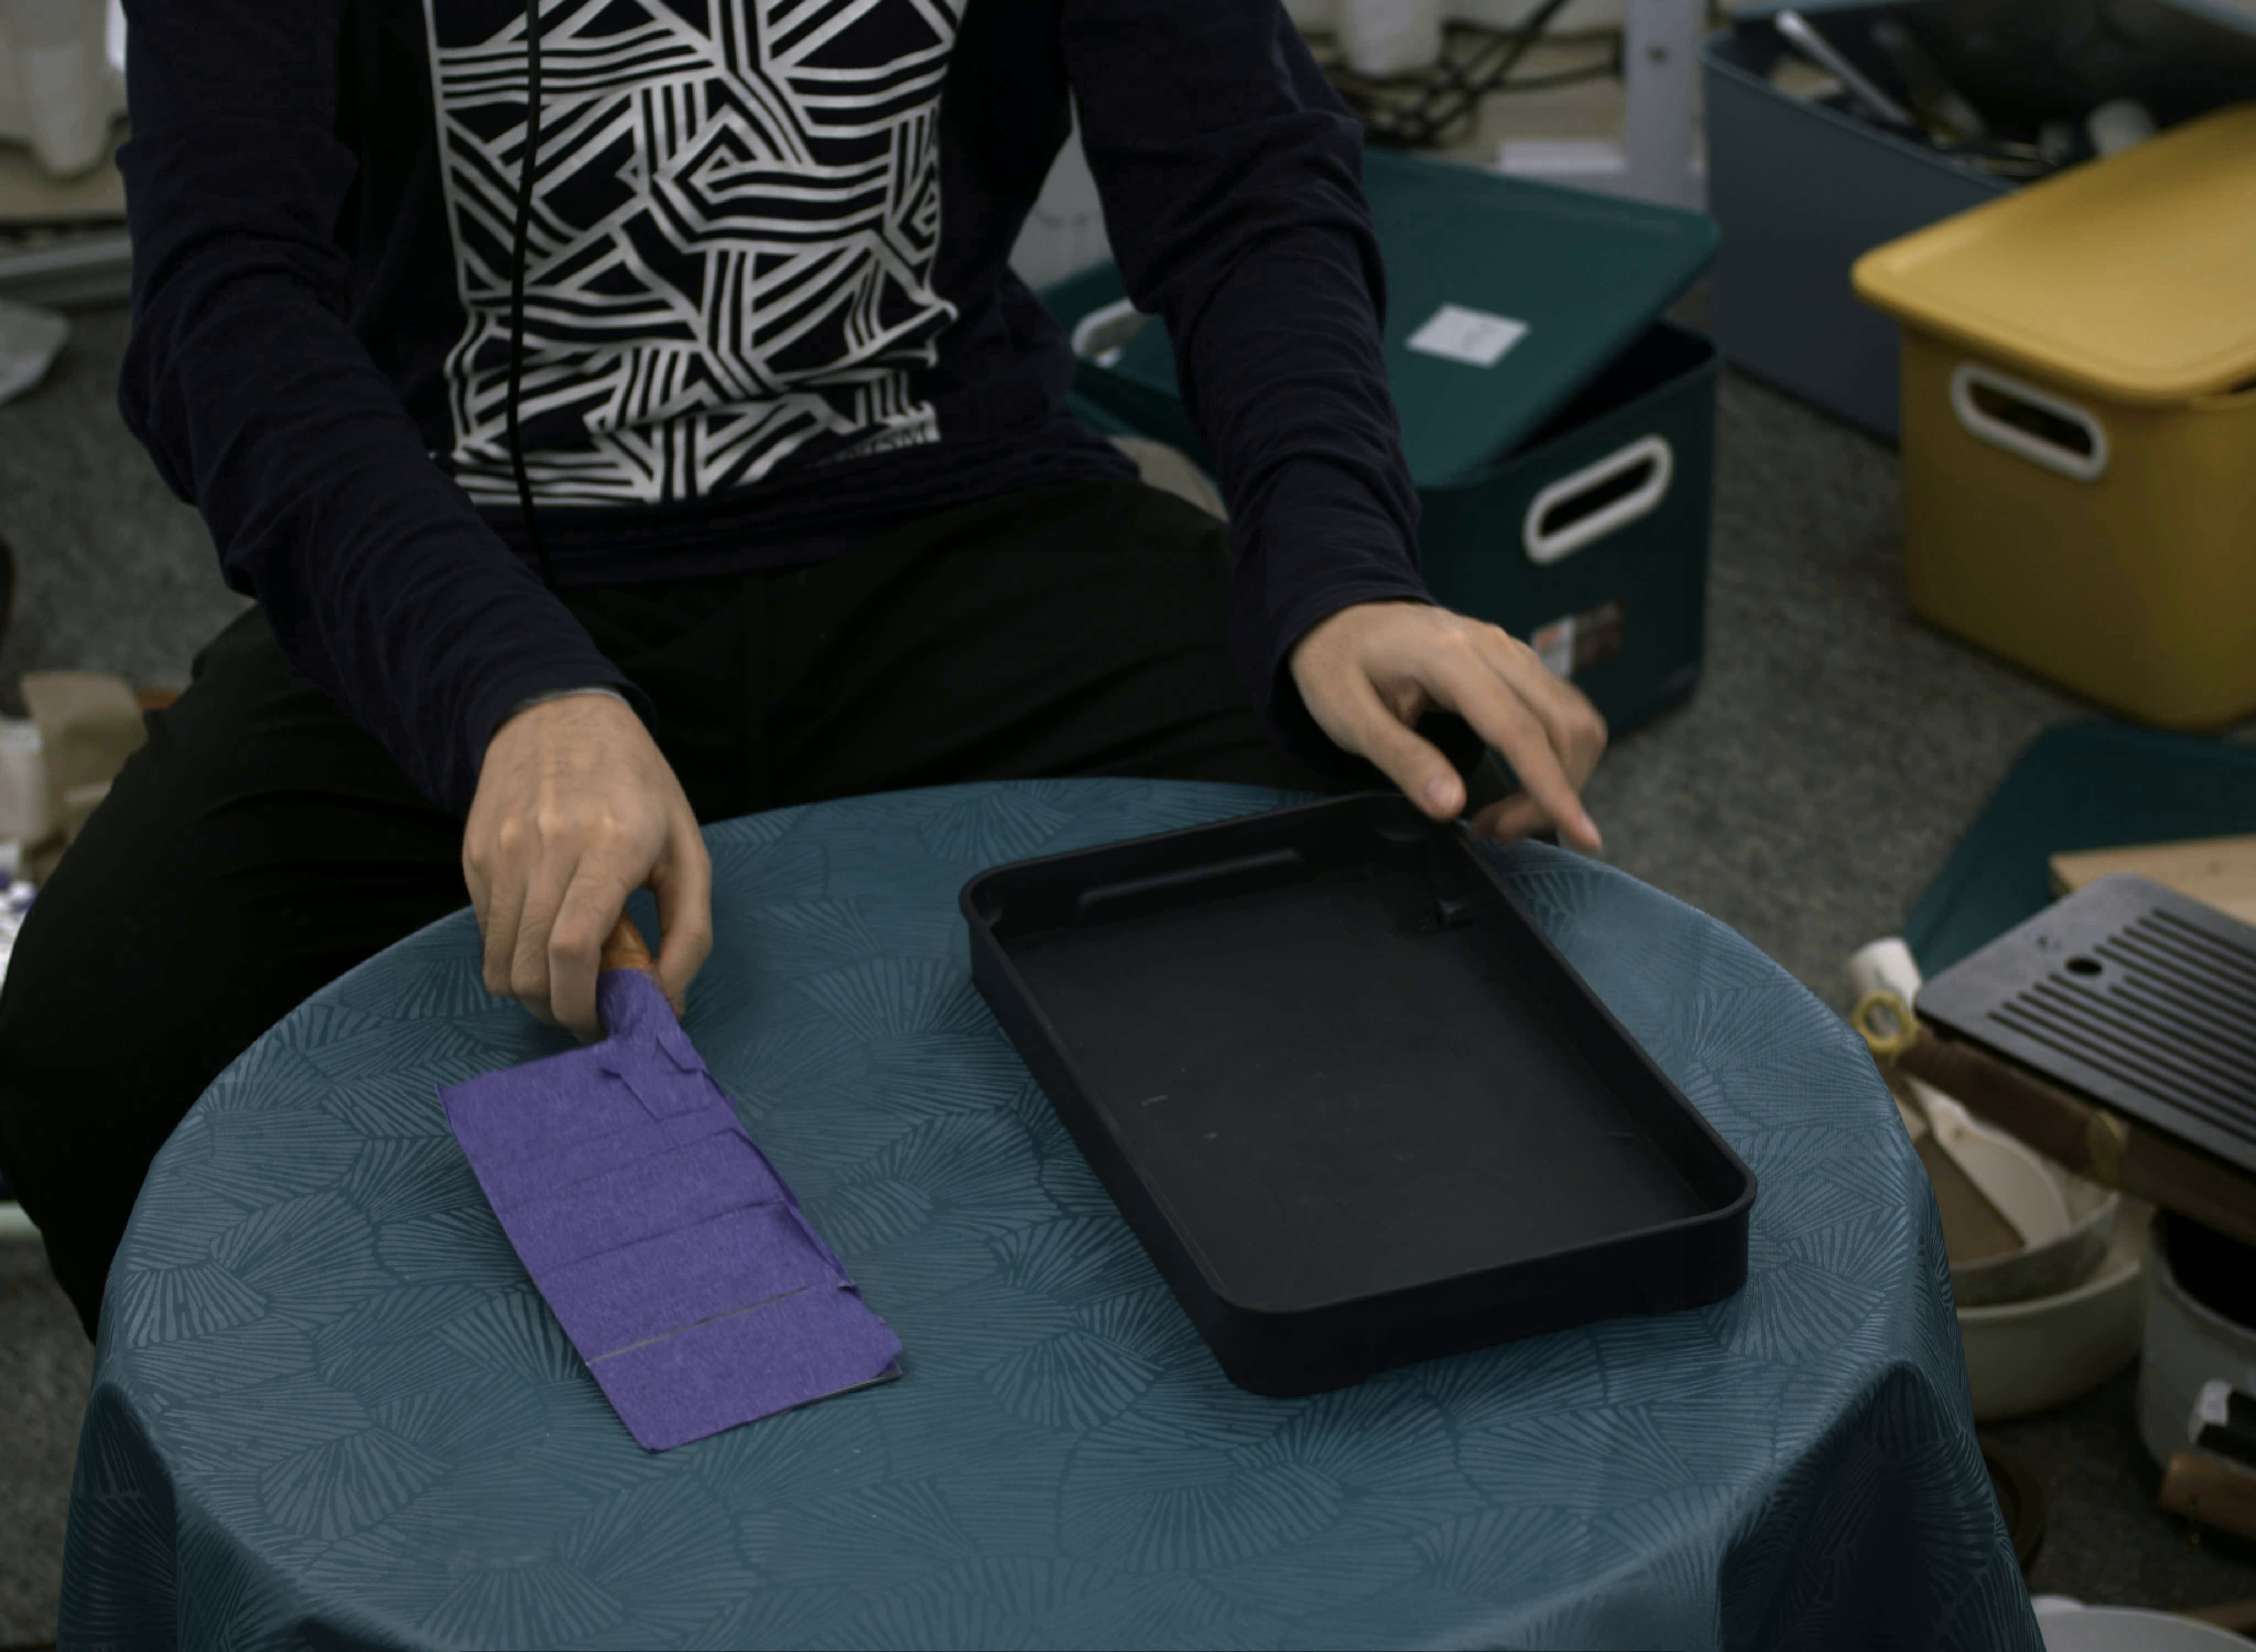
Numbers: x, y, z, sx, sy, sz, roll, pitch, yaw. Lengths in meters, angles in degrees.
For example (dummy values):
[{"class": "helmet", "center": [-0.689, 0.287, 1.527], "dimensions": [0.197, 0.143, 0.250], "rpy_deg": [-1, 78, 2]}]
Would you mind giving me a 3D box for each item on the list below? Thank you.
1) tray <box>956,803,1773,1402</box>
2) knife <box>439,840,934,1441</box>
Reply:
[{"class": "tray", "center": [0.073, 0.086, 1.888], "dimensions": [0.184, 0.036, 0.320], "rpy_deg": [-12, 27, -16]}, {"class": "knife", "center": [-0.172, 0.100, 1.865], "dimensions": [0.104, 0.032, 0.318], "rpy_deg": [-14, 34, -21]}]
